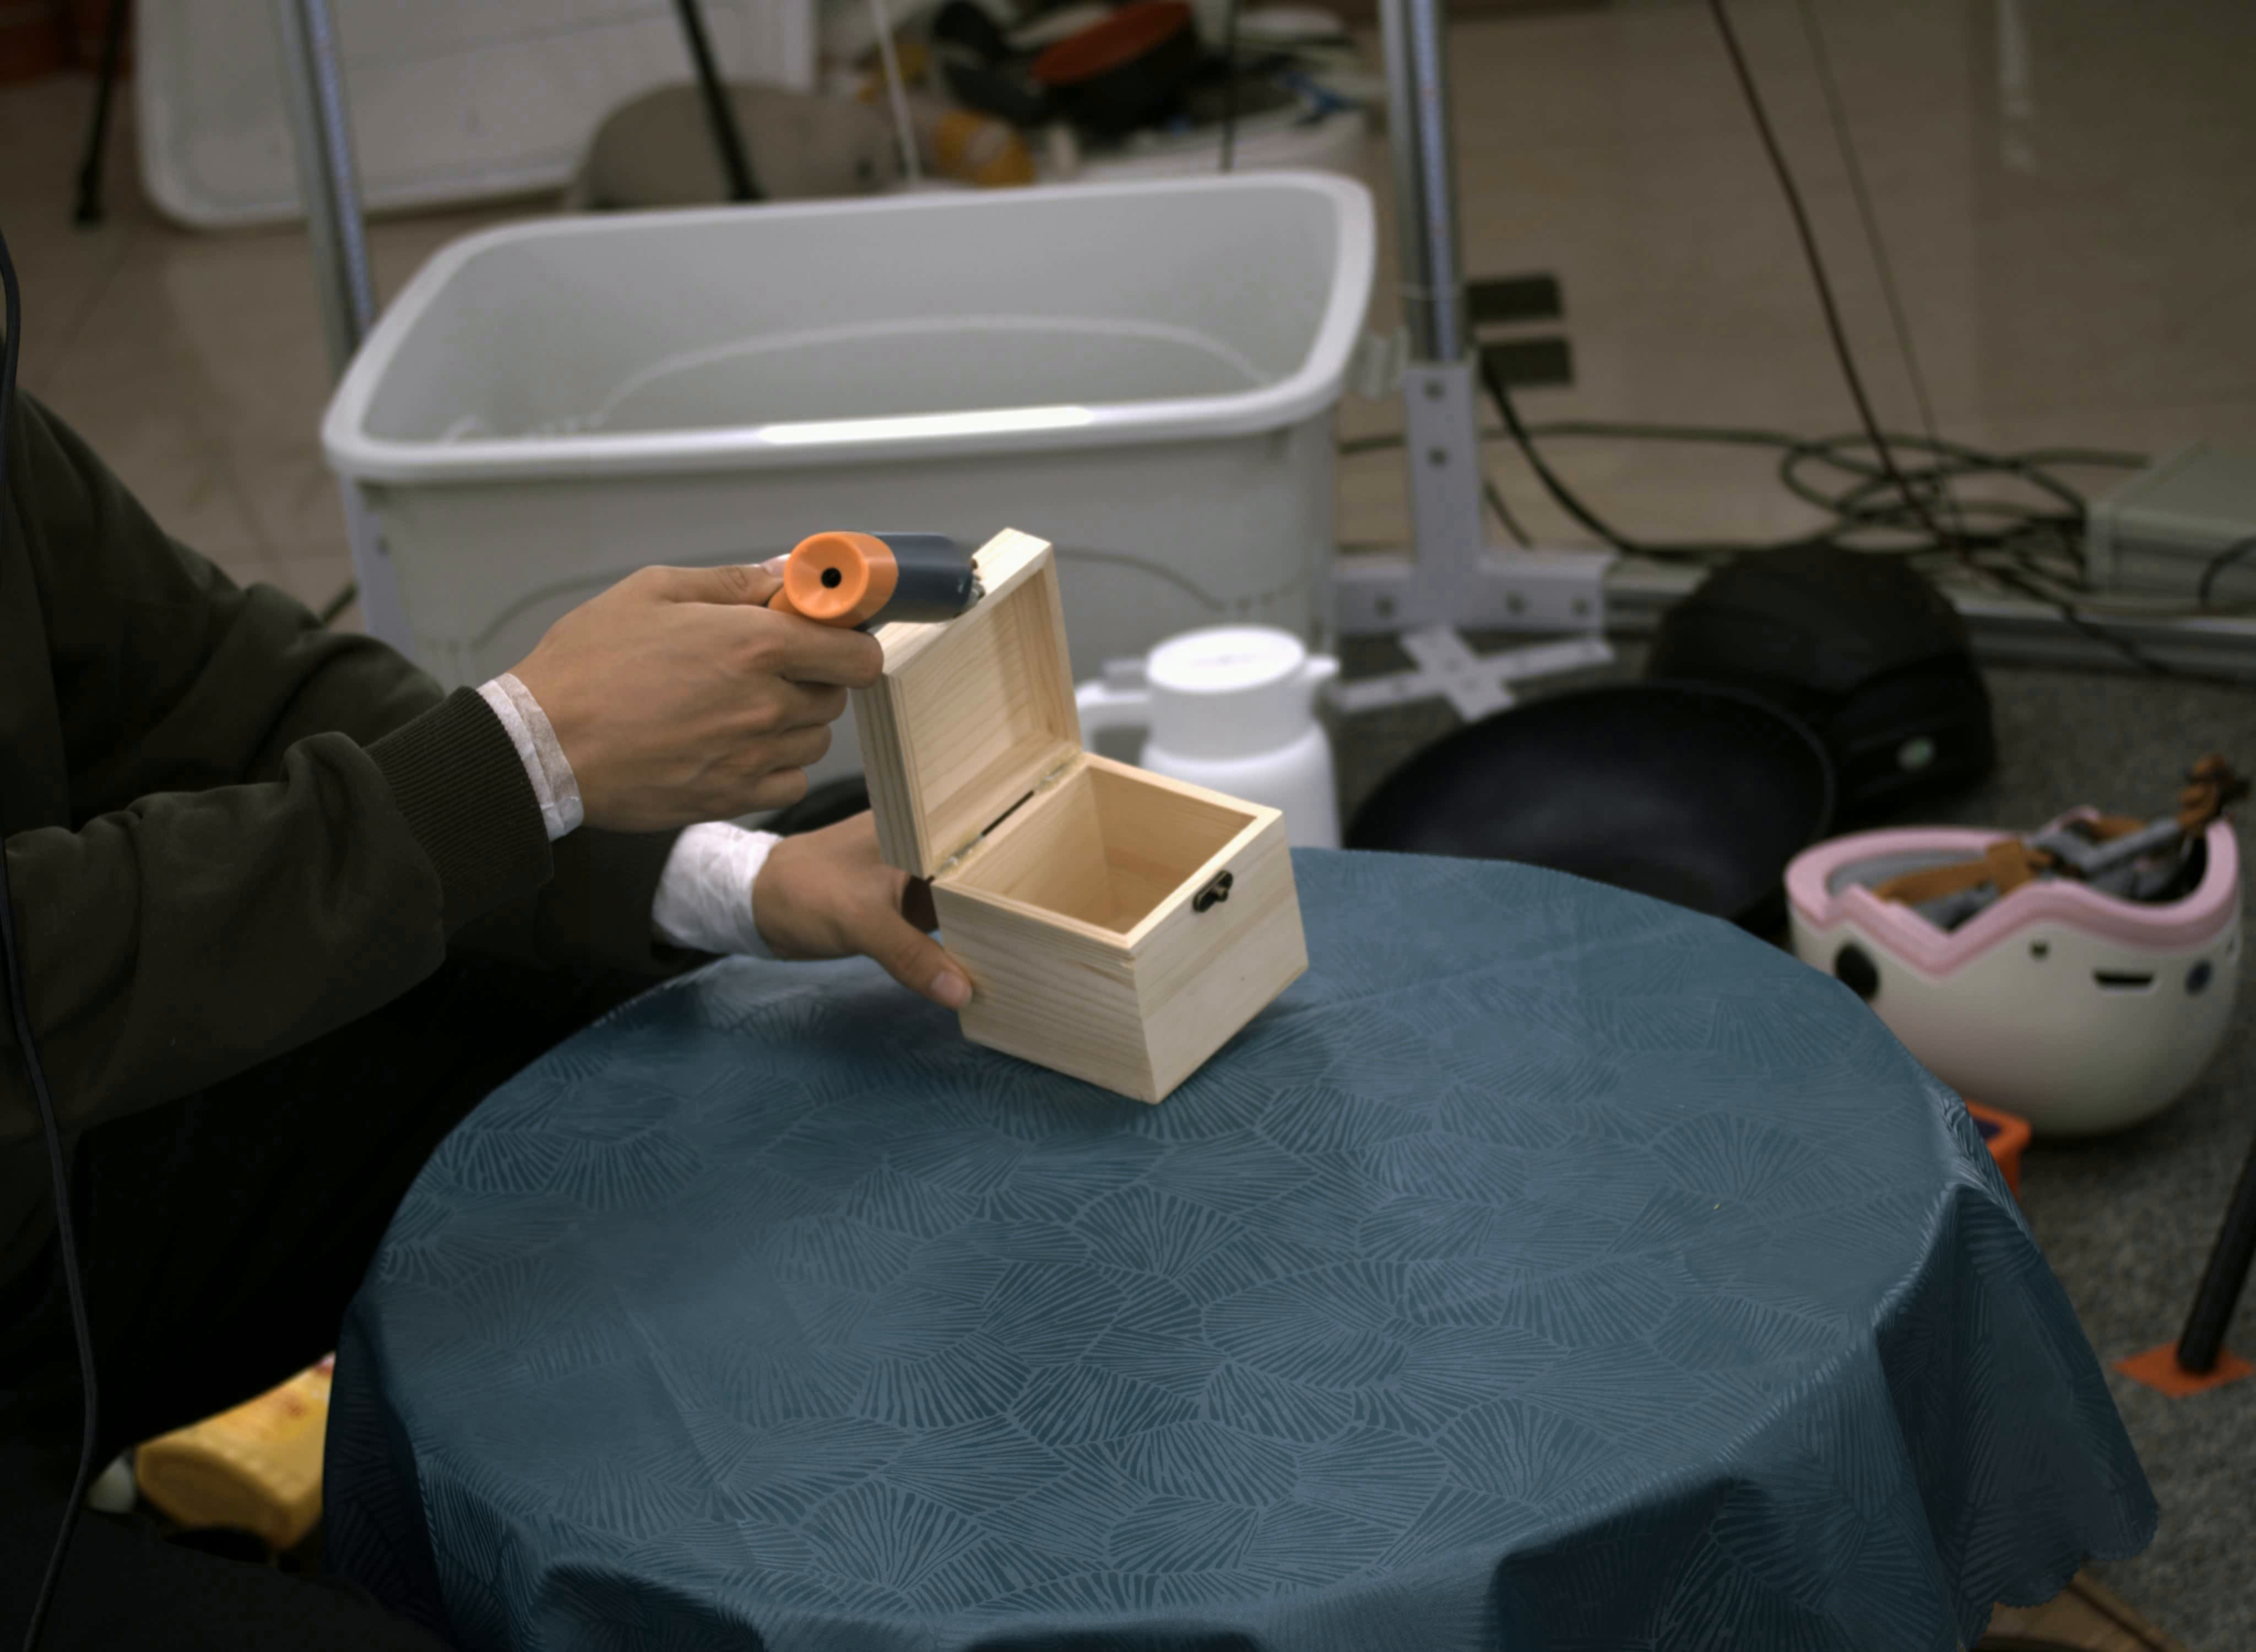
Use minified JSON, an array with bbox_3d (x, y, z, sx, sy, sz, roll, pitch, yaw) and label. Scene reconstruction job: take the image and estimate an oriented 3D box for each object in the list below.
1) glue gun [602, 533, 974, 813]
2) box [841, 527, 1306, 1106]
[{"bbox_3d":[-0.123,-0.065,2.119,0.140,0.041,0.118,-37,-13,3],"label":"glue gun"},{"bbox_3d":[-0.018,-0.005,2.219,0.133,0.188,0.101,17,44,34],"label":"box"}]
